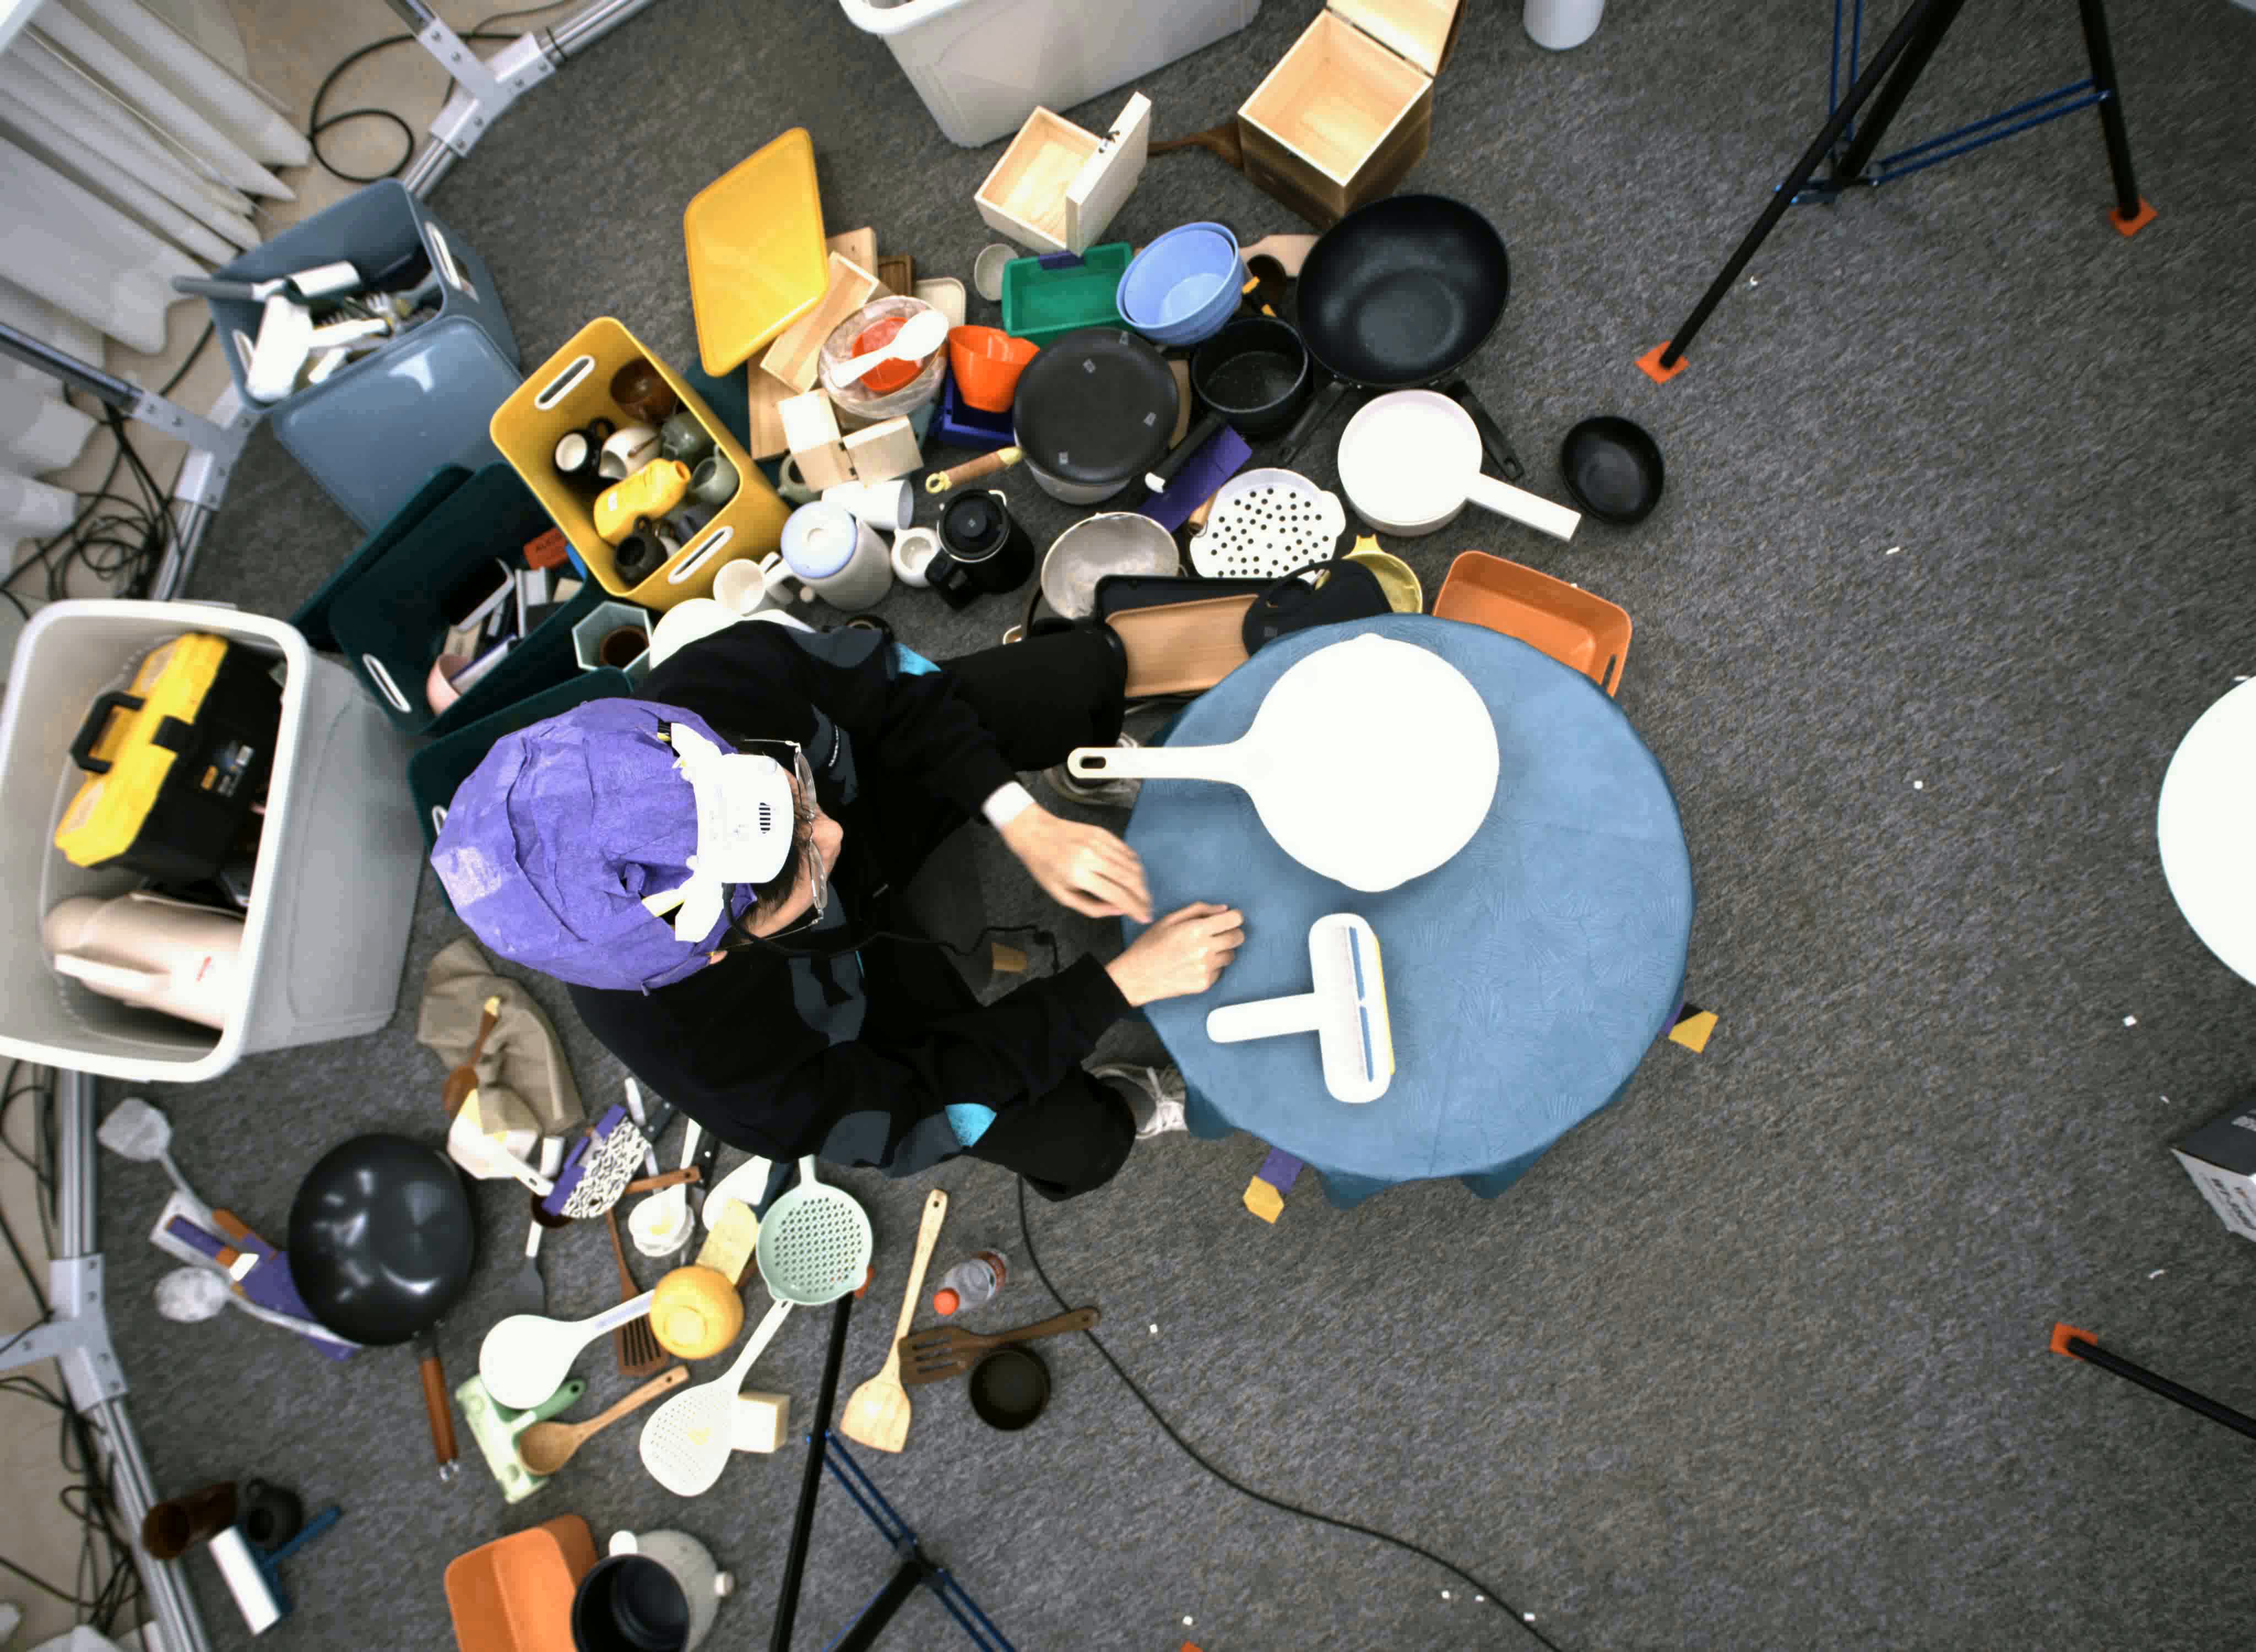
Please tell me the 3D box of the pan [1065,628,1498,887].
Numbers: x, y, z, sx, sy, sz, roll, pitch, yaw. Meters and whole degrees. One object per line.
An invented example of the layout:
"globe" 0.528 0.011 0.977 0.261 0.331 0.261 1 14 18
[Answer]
"pan" 0.159 -0.067 1.432 0.436 0.102 0.263 -1 89 10

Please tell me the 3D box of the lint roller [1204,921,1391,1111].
"lint roller" 0.171 0.197 1.433 0.193 0.074 0.191 -4 81 12
